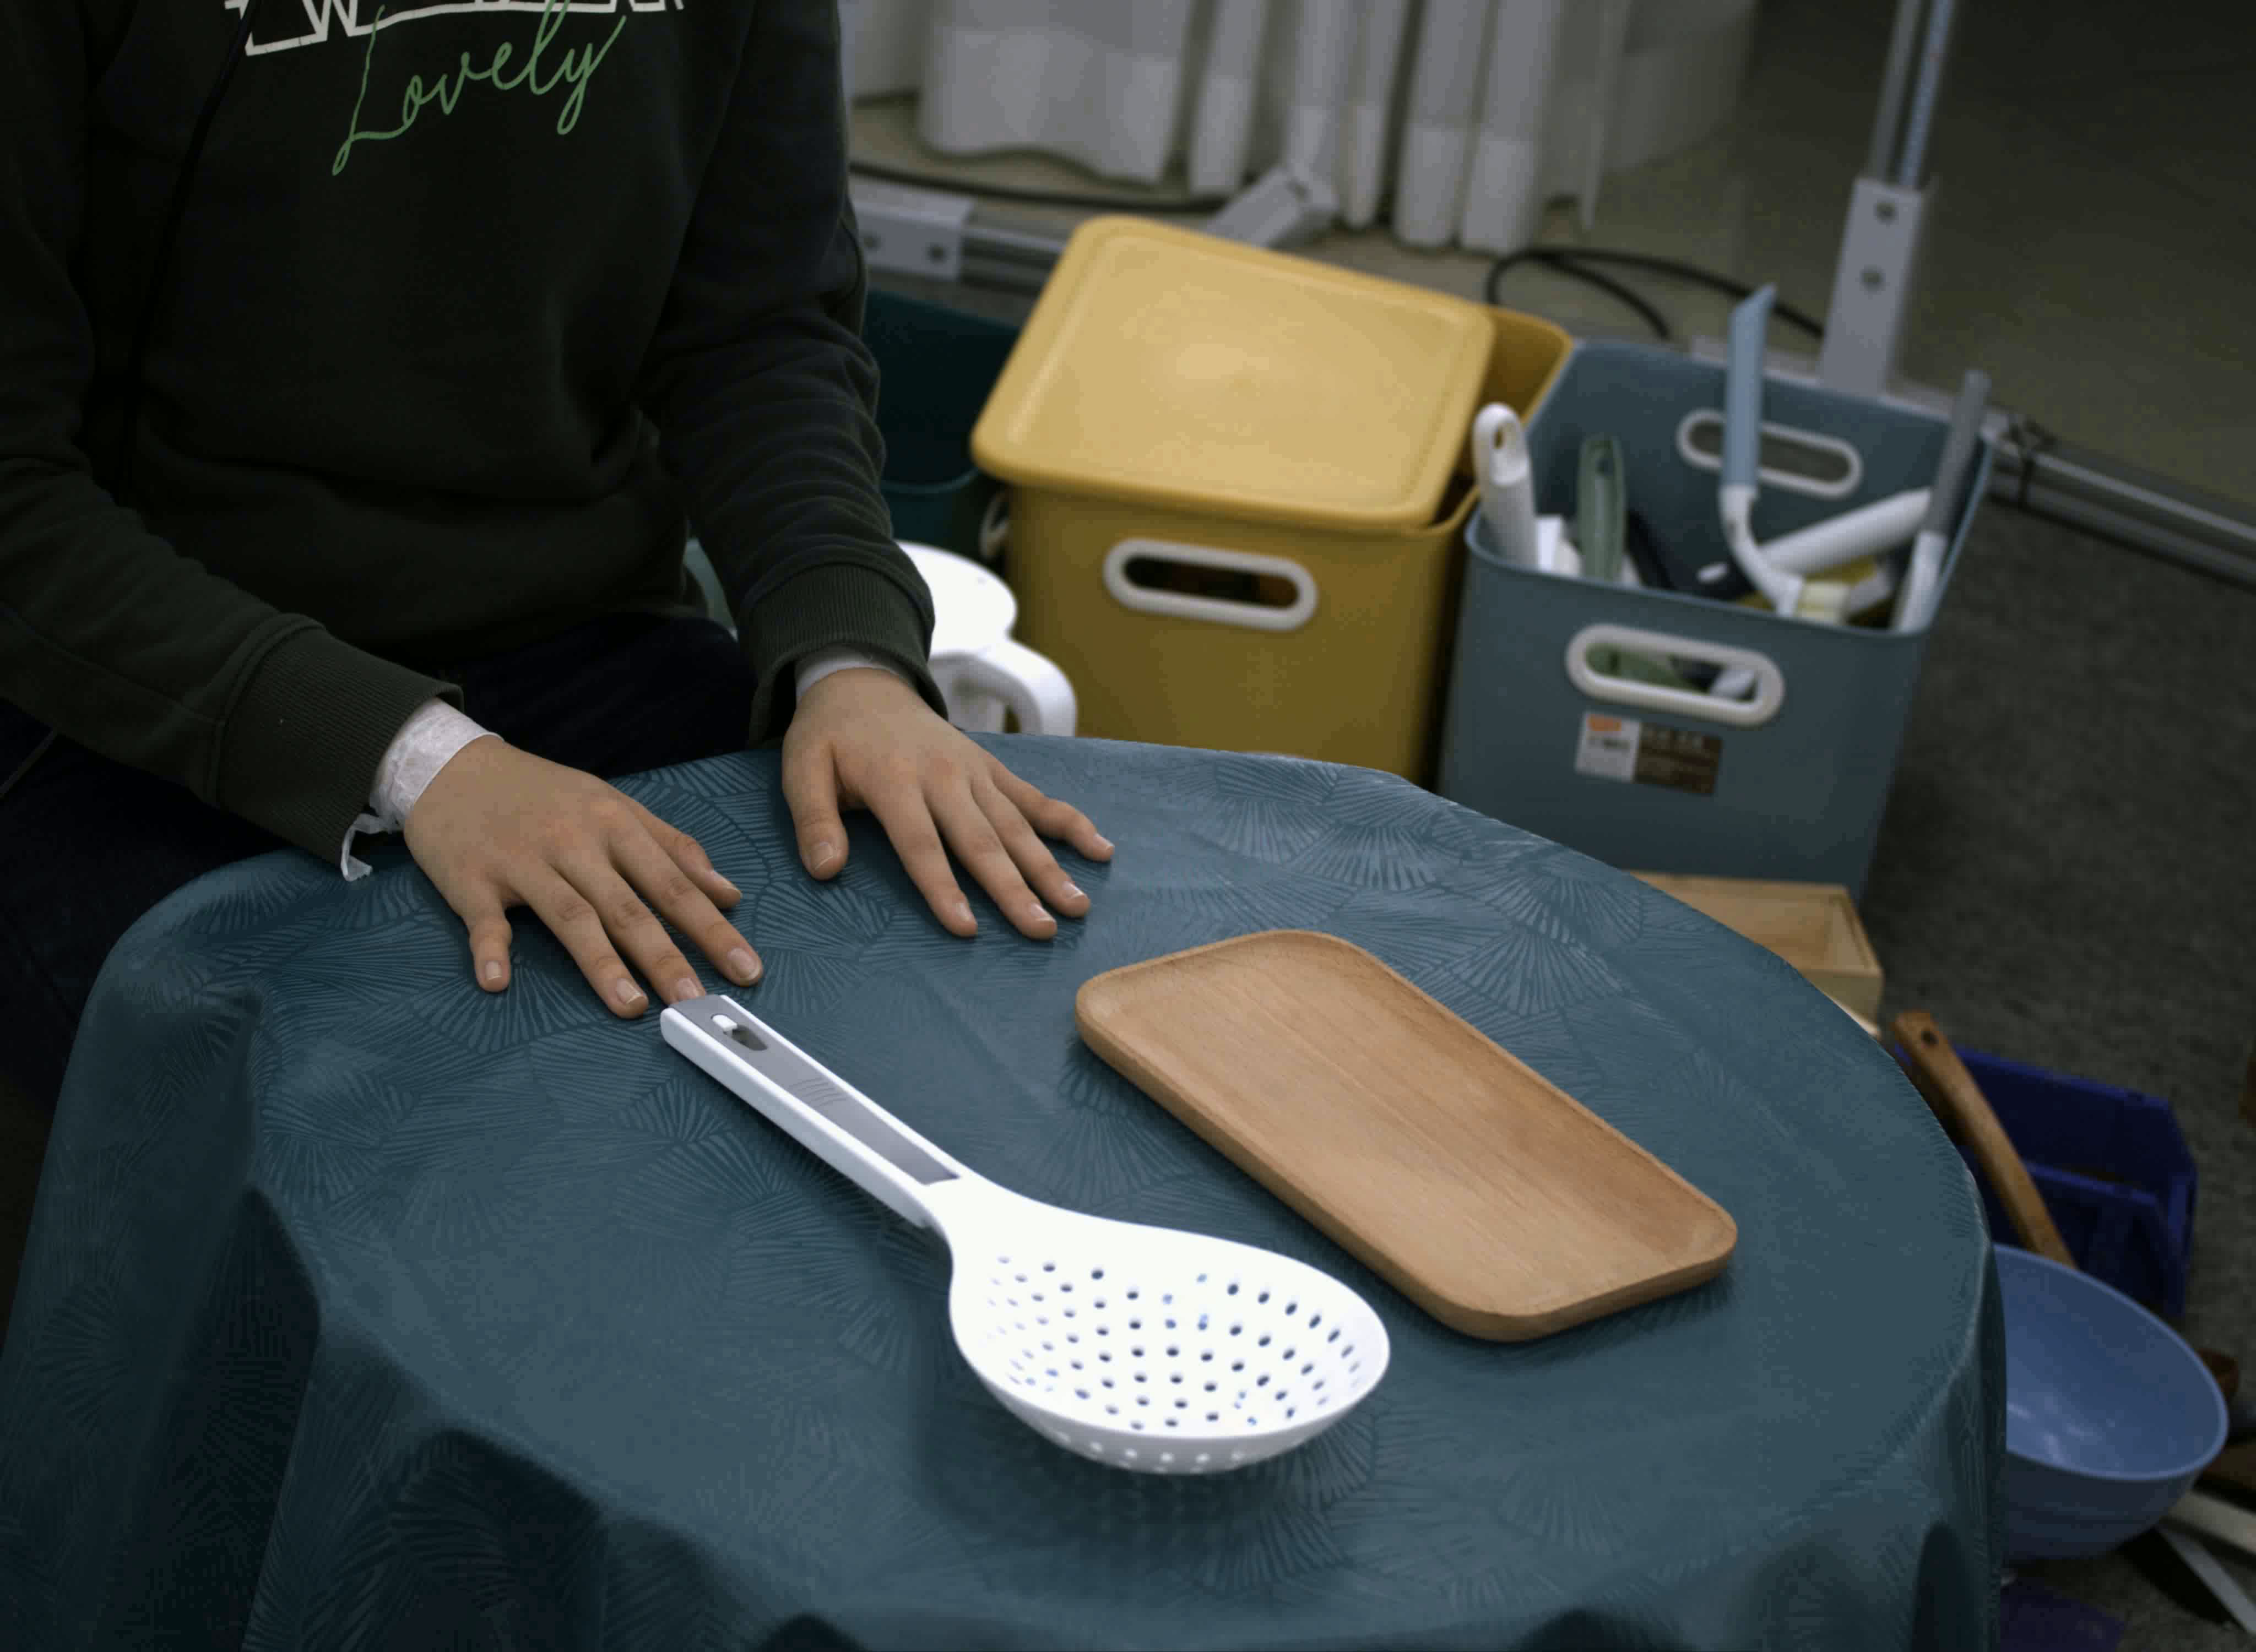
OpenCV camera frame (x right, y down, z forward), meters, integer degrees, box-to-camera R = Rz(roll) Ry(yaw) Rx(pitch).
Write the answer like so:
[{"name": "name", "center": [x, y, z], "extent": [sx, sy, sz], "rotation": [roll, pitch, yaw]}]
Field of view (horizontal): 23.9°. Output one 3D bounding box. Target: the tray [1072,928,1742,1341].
[{"name": "tray", "center": [0.093, 0.104, 1.842], "extent": [0.130, 0.023, 0.253], "rotation": [-11, 31, -35]}]

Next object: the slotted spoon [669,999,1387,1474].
[{"name": "slotted spoon", "center": [-0.051, 0.127, 1.732], "extent": [0.135, 0.045, 0.353], "rotation": [-10, 30, -34]}]
